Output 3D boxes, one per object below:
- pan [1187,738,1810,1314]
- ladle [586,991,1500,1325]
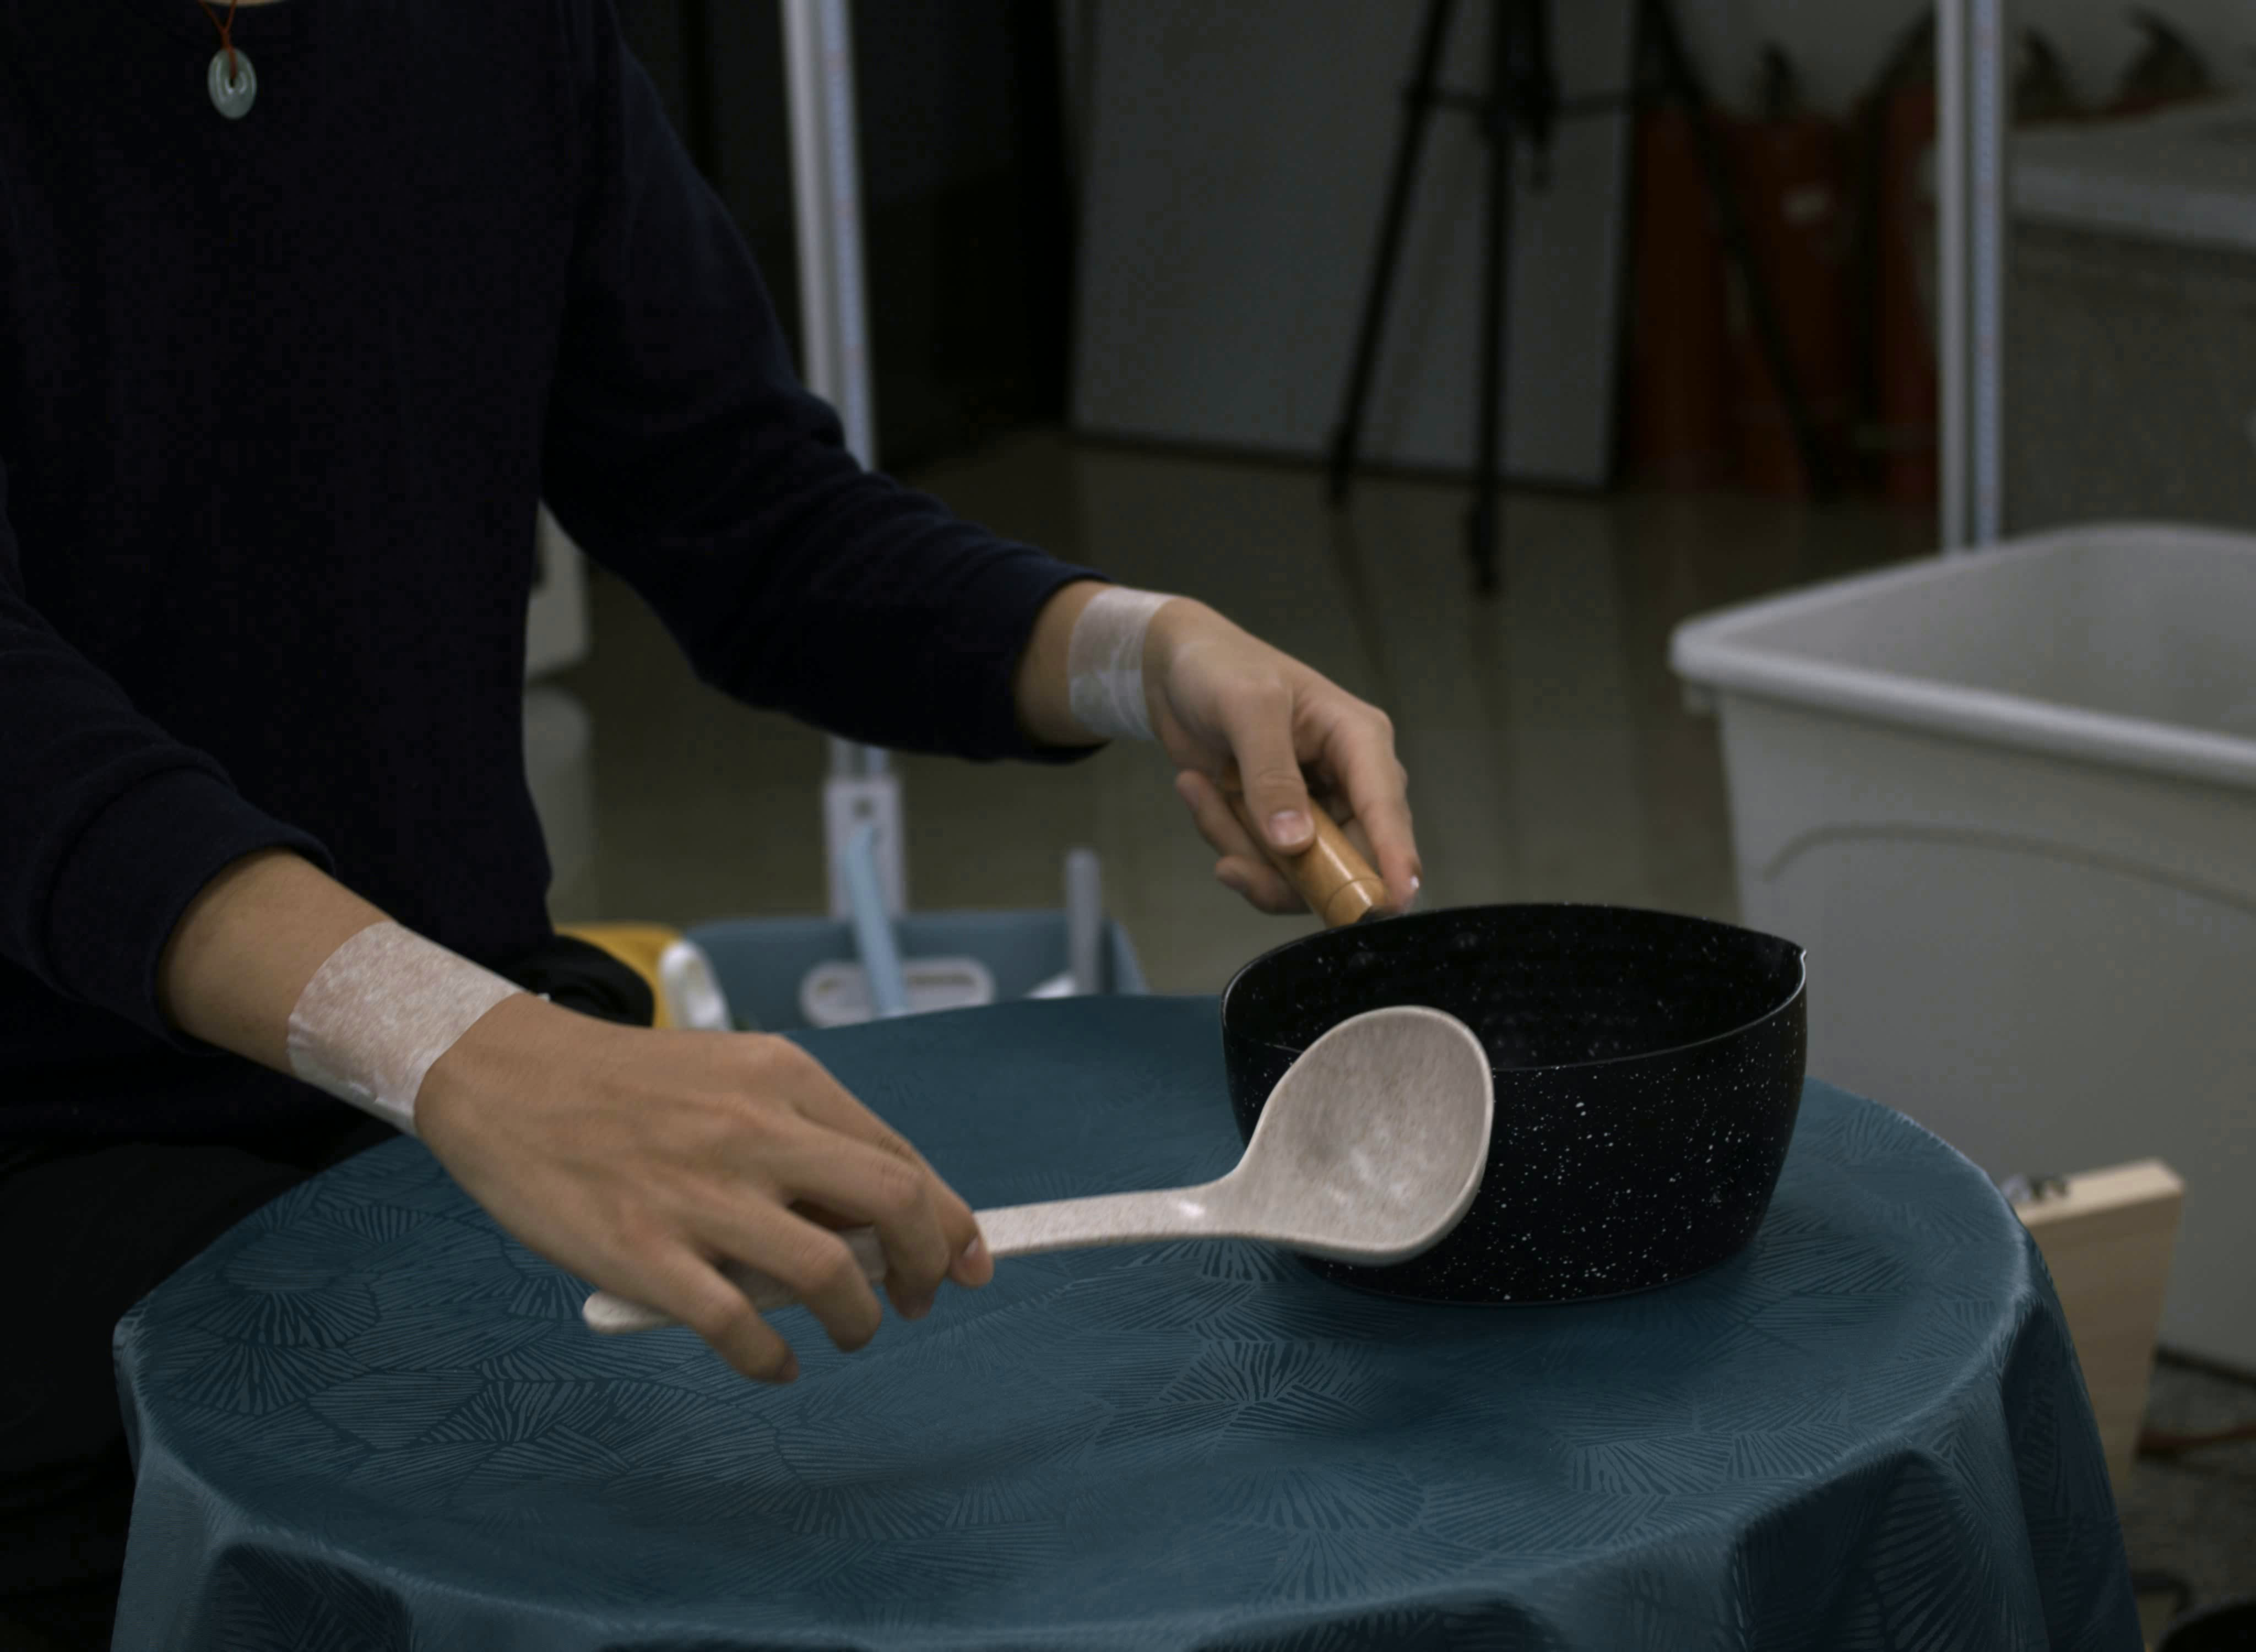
[{"bbox_3d":[0.096,0.060,1.763,0.203,0.109,0.346,-10,16,-17],"label":"pan"},{"bbox_3d":[-0.021,0.094,1.516,0.268,0.070,0.090,-4,38,-27],"label":"ladle"}]
